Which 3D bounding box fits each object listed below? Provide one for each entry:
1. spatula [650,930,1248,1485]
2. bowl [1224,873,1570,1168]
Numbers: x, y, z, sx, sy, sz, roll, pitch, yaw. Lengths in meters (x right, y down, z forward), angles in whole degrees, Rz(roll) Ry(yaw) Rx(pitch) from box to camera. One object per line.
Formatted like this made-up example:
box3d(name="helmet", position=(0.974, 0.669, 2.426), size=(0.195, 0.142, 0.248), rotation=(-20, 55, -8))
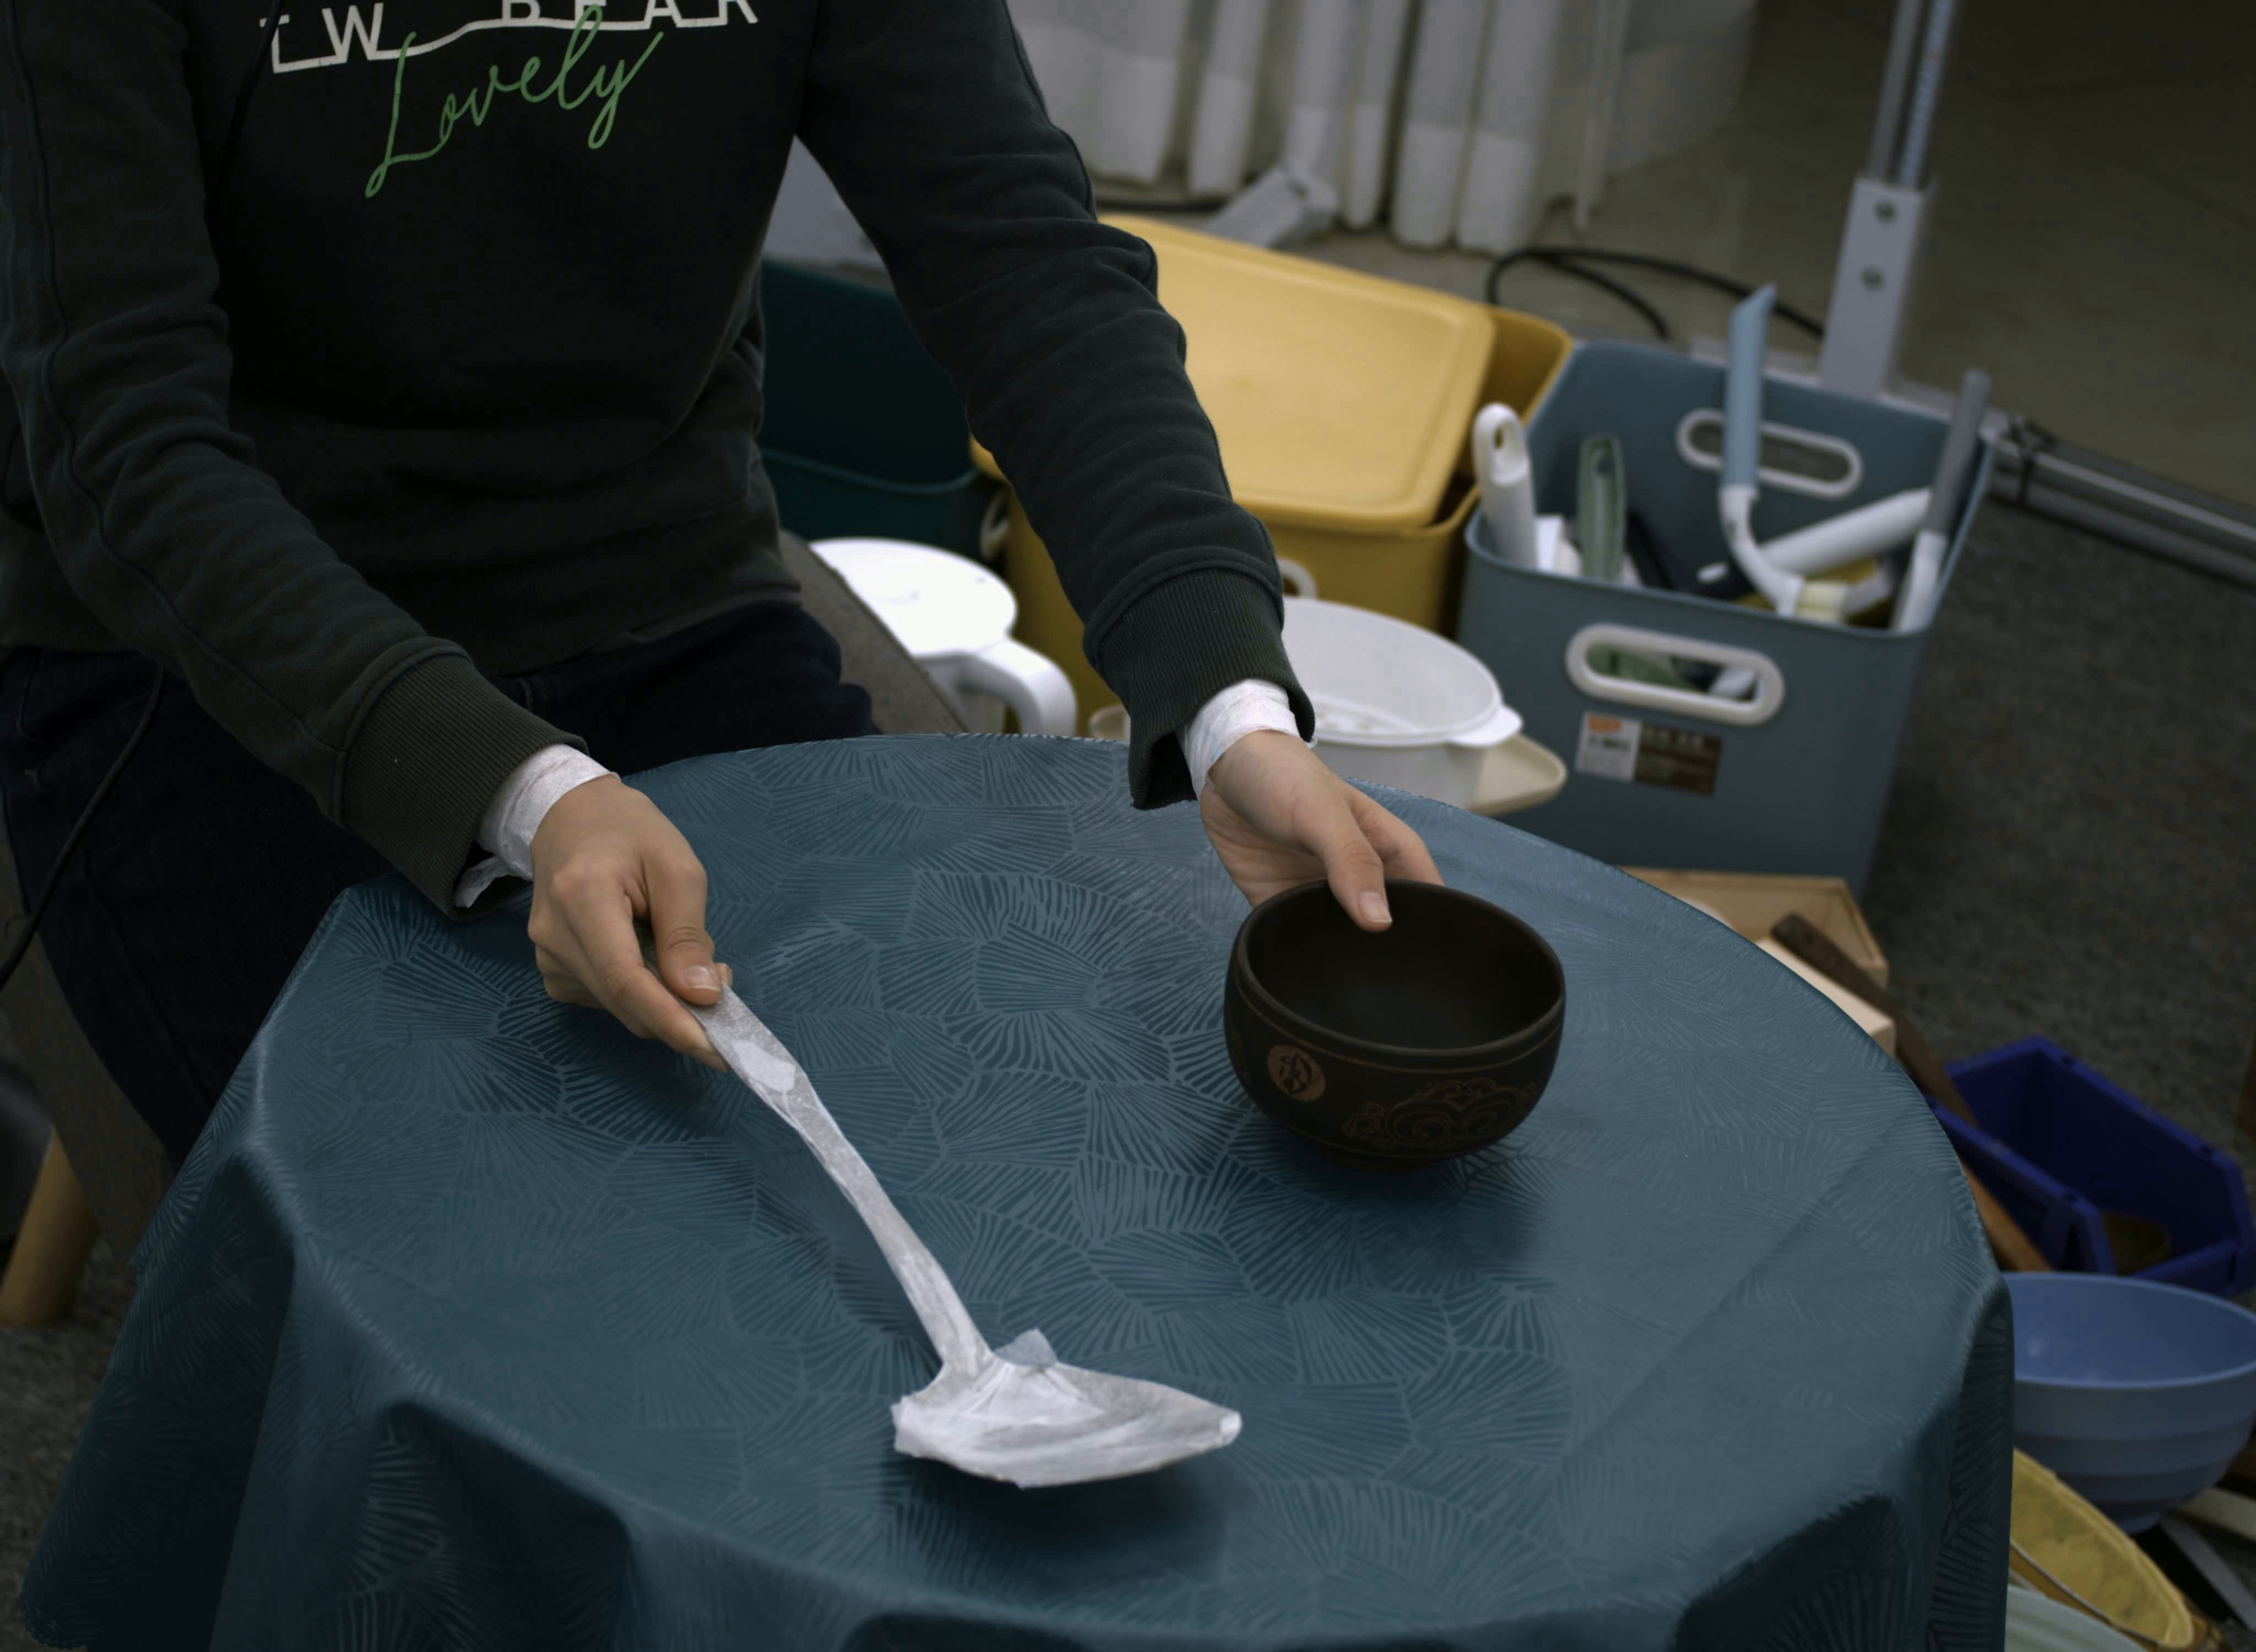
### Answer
box3d(name="spatula", position=(-0.083, 0.115, 1.736), size=(0.098, 0.044, 0.368), rotation=(-9, 36, -27))
box3d(name="bowl", position=(0.090, 0.074, 1.835), size=(0.117, 0.069, 0.119), rotation=(6, 28, -4))
